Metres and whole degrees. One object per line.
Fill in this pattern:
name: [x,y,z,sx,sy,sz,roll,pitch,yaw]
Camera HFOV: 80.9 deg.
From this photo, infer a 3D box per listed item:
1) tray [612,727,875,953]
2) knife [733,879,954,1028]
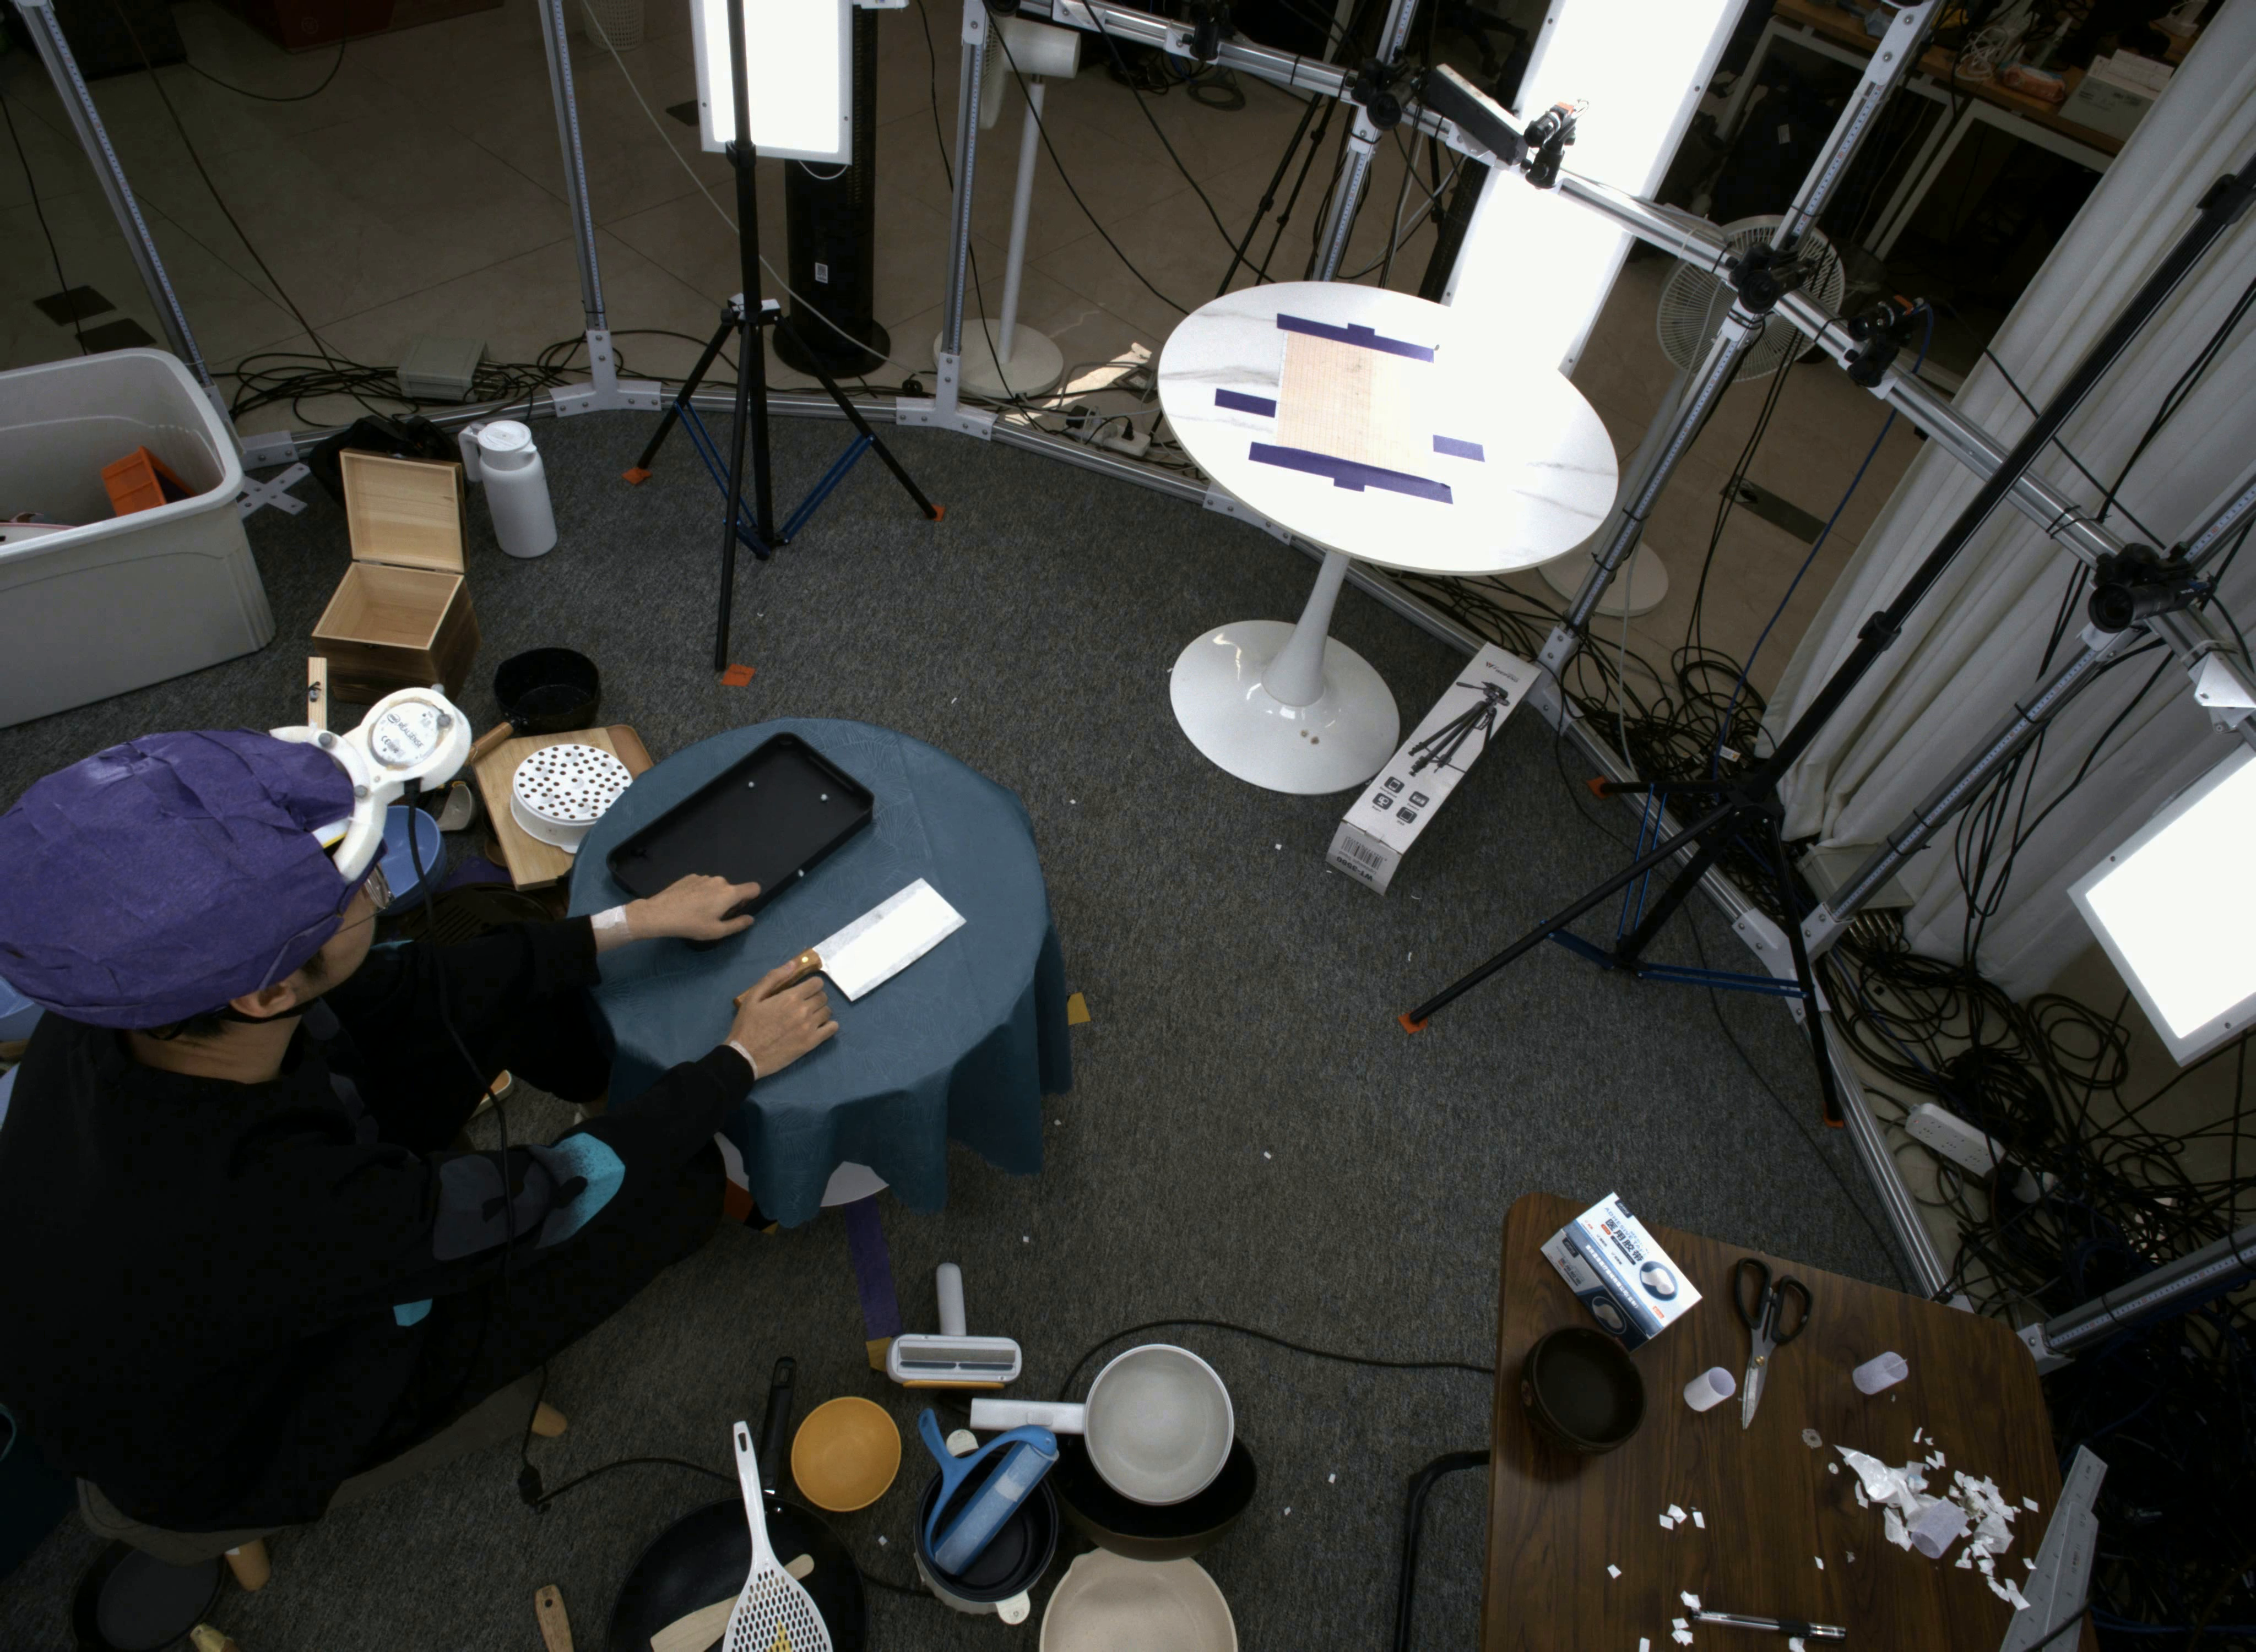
tray: [-0.491,0.009,1.665,0.181,0.038,0.317,35,53,12]
knife: [-0.341,0.165,1.602,0.091,0.021,0.306,42,52,16]
